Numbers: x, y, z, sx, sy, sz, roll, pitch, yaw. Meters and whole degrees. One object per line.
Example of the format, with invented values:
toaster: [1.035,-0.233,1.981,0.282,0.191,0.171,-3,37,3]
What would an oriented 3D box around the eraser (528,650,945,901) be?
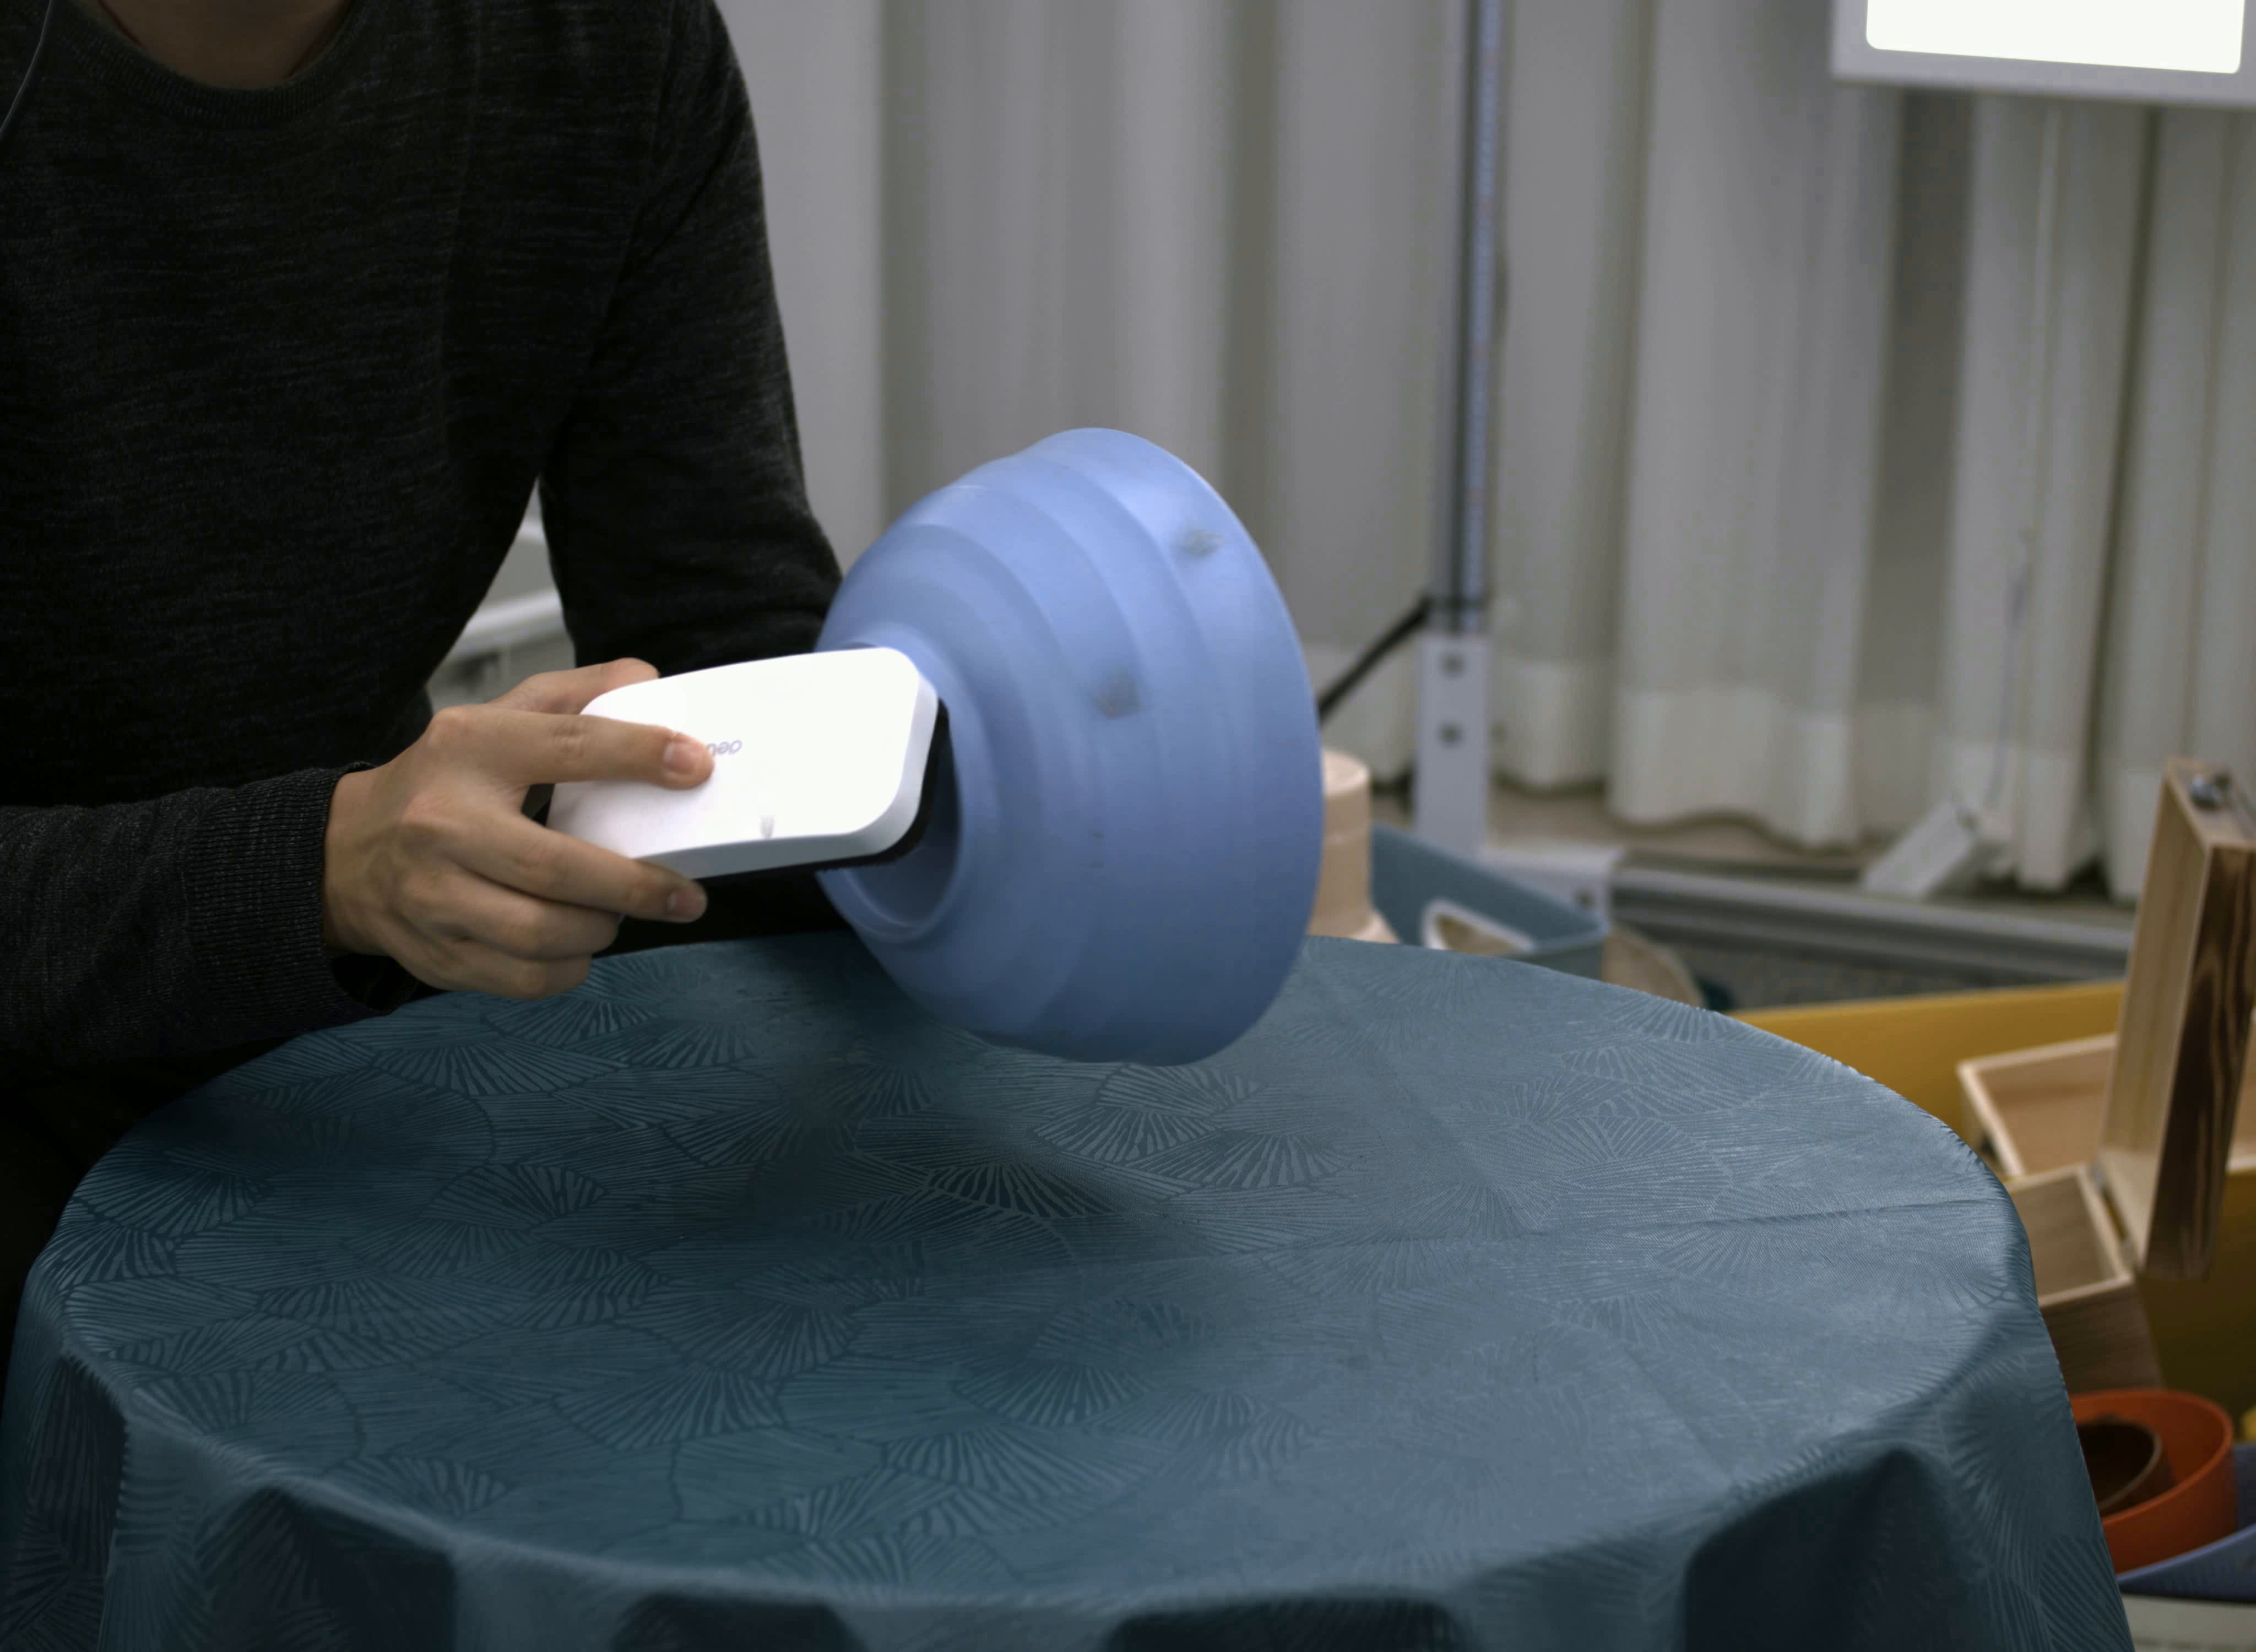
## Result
eraser: [-0.115,-0.015,1.523,0.130,0.063,0.035,-7,-31,32]

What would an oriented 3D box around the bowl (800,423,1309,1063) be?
bowl: [-0.042,-0.018,1.575,0.096,0.198,0.194,-11,20,-34]
